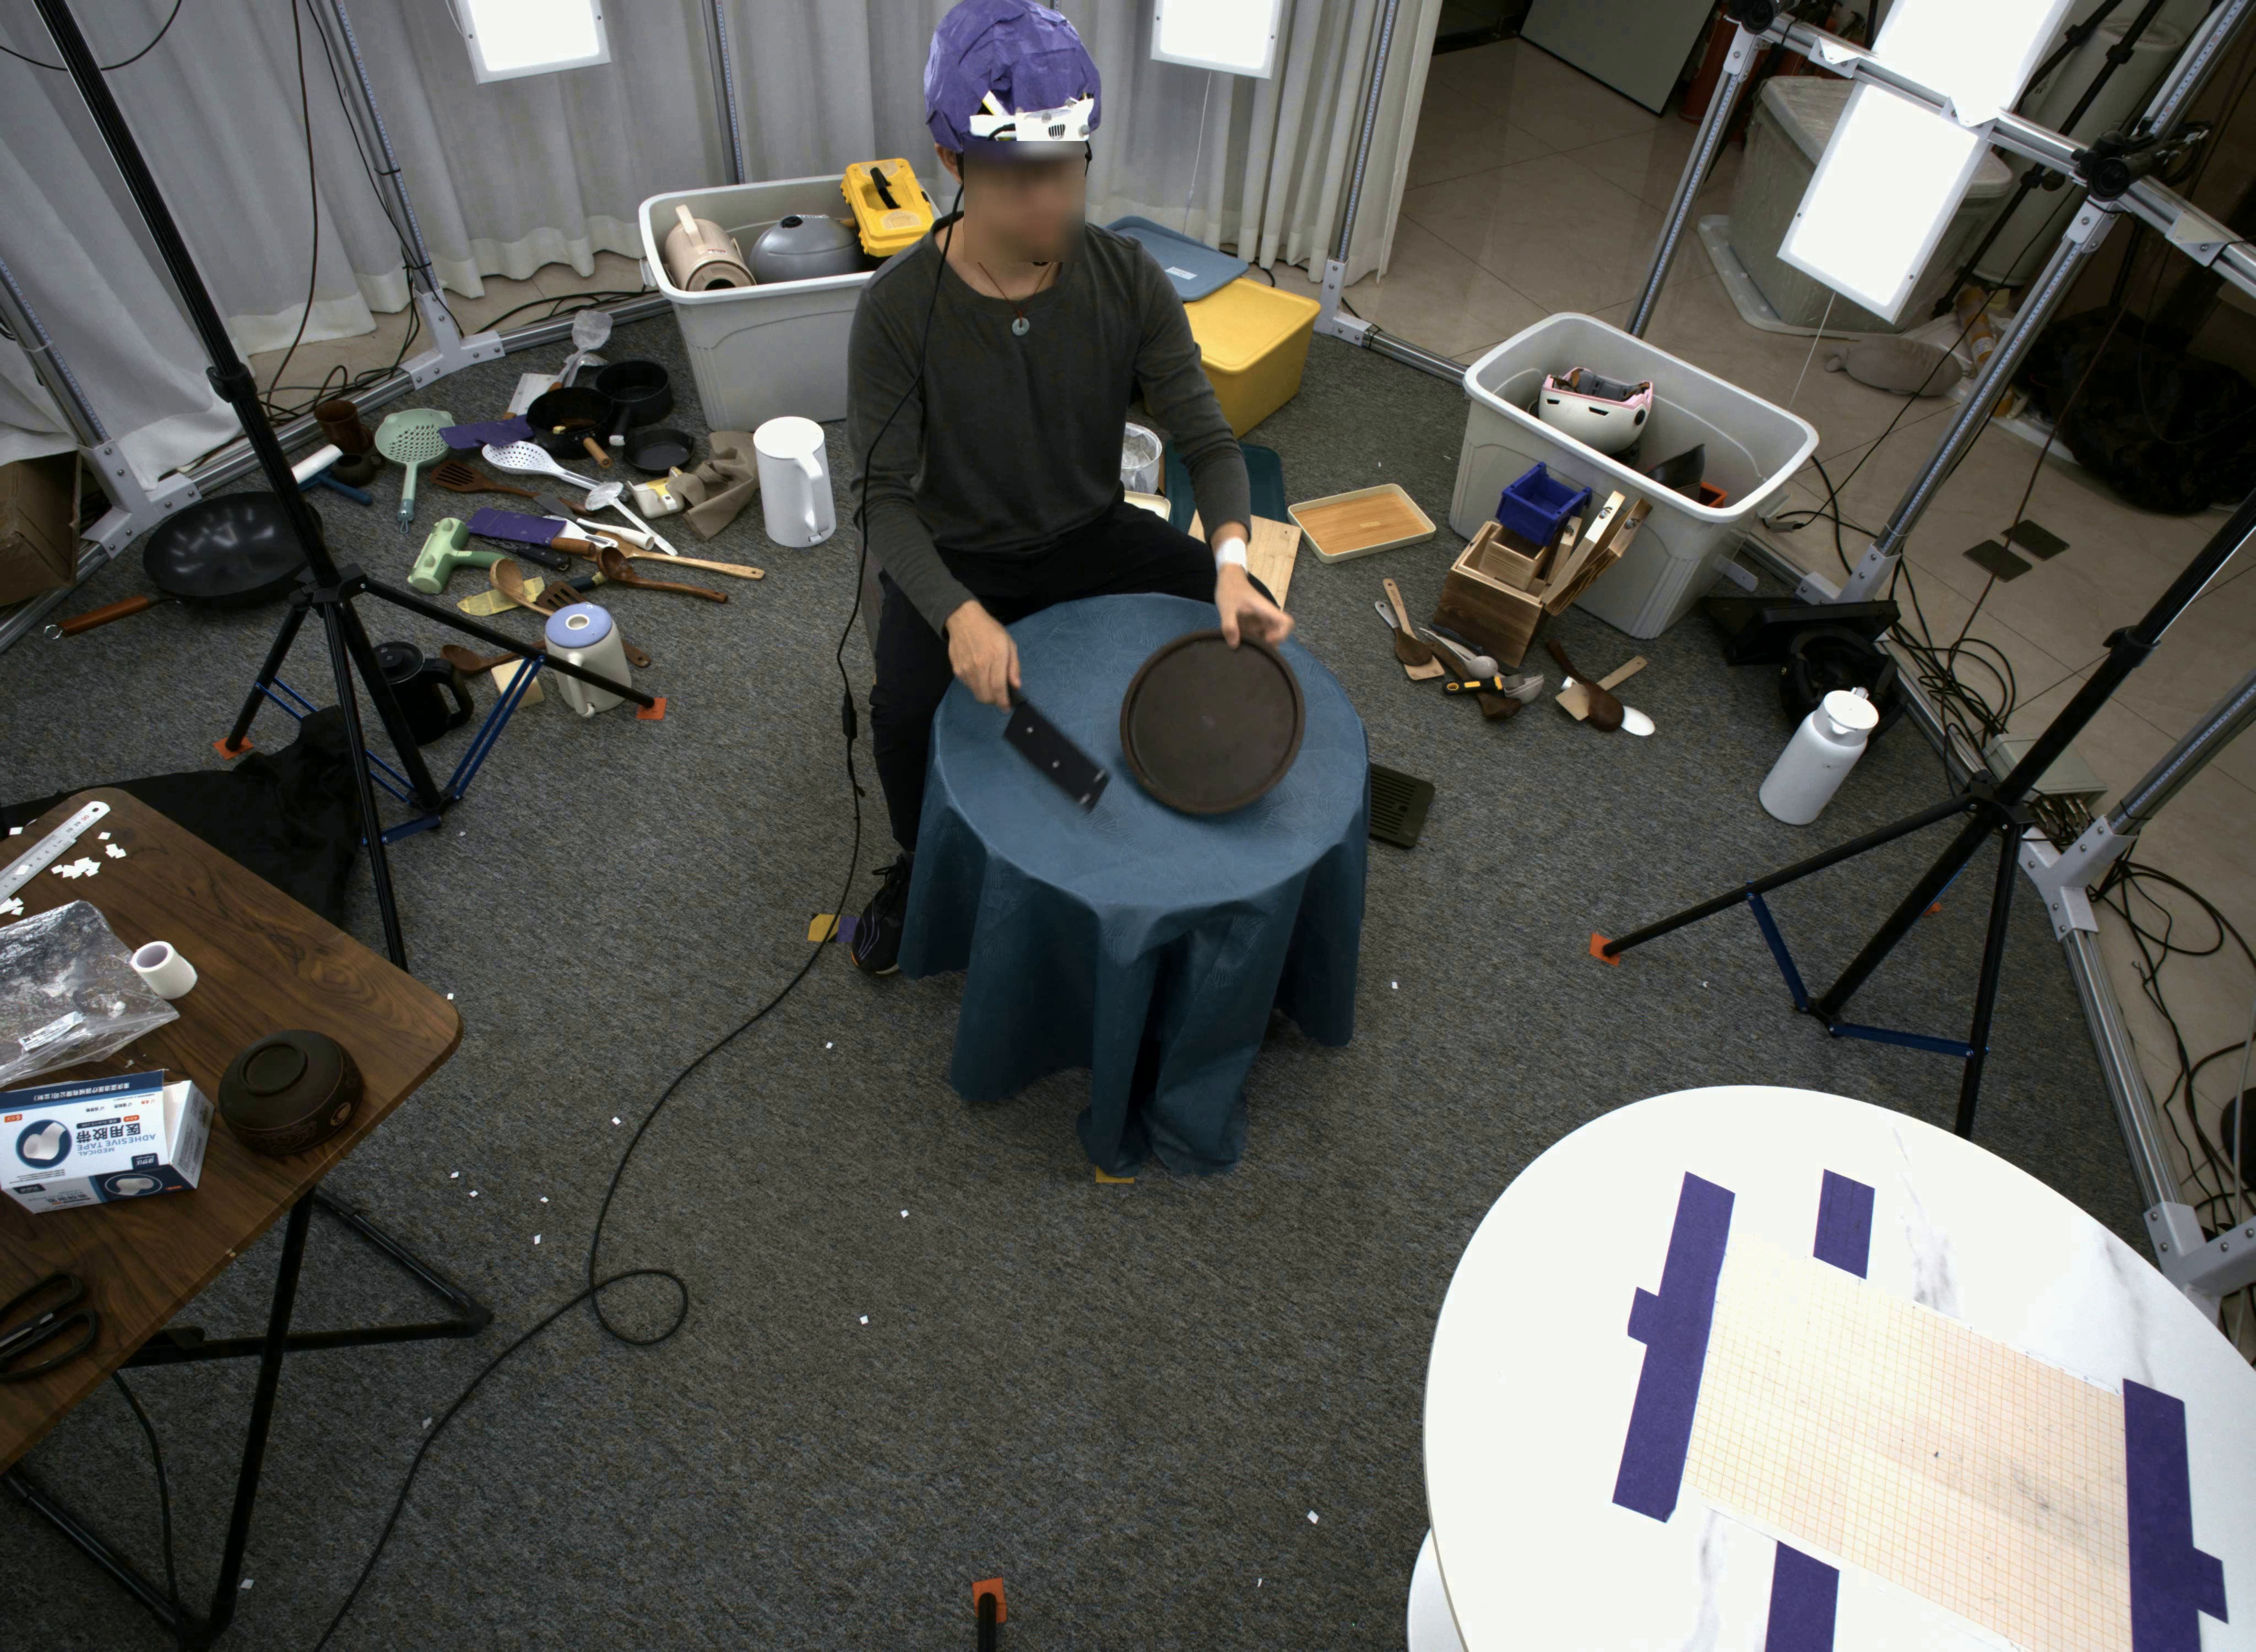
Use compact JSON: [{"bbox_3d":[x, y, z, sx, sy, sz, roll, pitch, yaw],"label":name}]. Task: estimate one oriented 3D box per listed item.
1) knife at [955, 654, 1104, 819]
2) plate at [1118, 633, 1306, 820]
[{"bbox_3d":[-0.137,-0.125,1.684,0.021,0.080,0.307,0,42,-53],"label":"knife"},{"bbox_3d":[0.110,-0.132,1.694,0.255,0.029,0.257,-3,78,17],"label":"plate"}]
